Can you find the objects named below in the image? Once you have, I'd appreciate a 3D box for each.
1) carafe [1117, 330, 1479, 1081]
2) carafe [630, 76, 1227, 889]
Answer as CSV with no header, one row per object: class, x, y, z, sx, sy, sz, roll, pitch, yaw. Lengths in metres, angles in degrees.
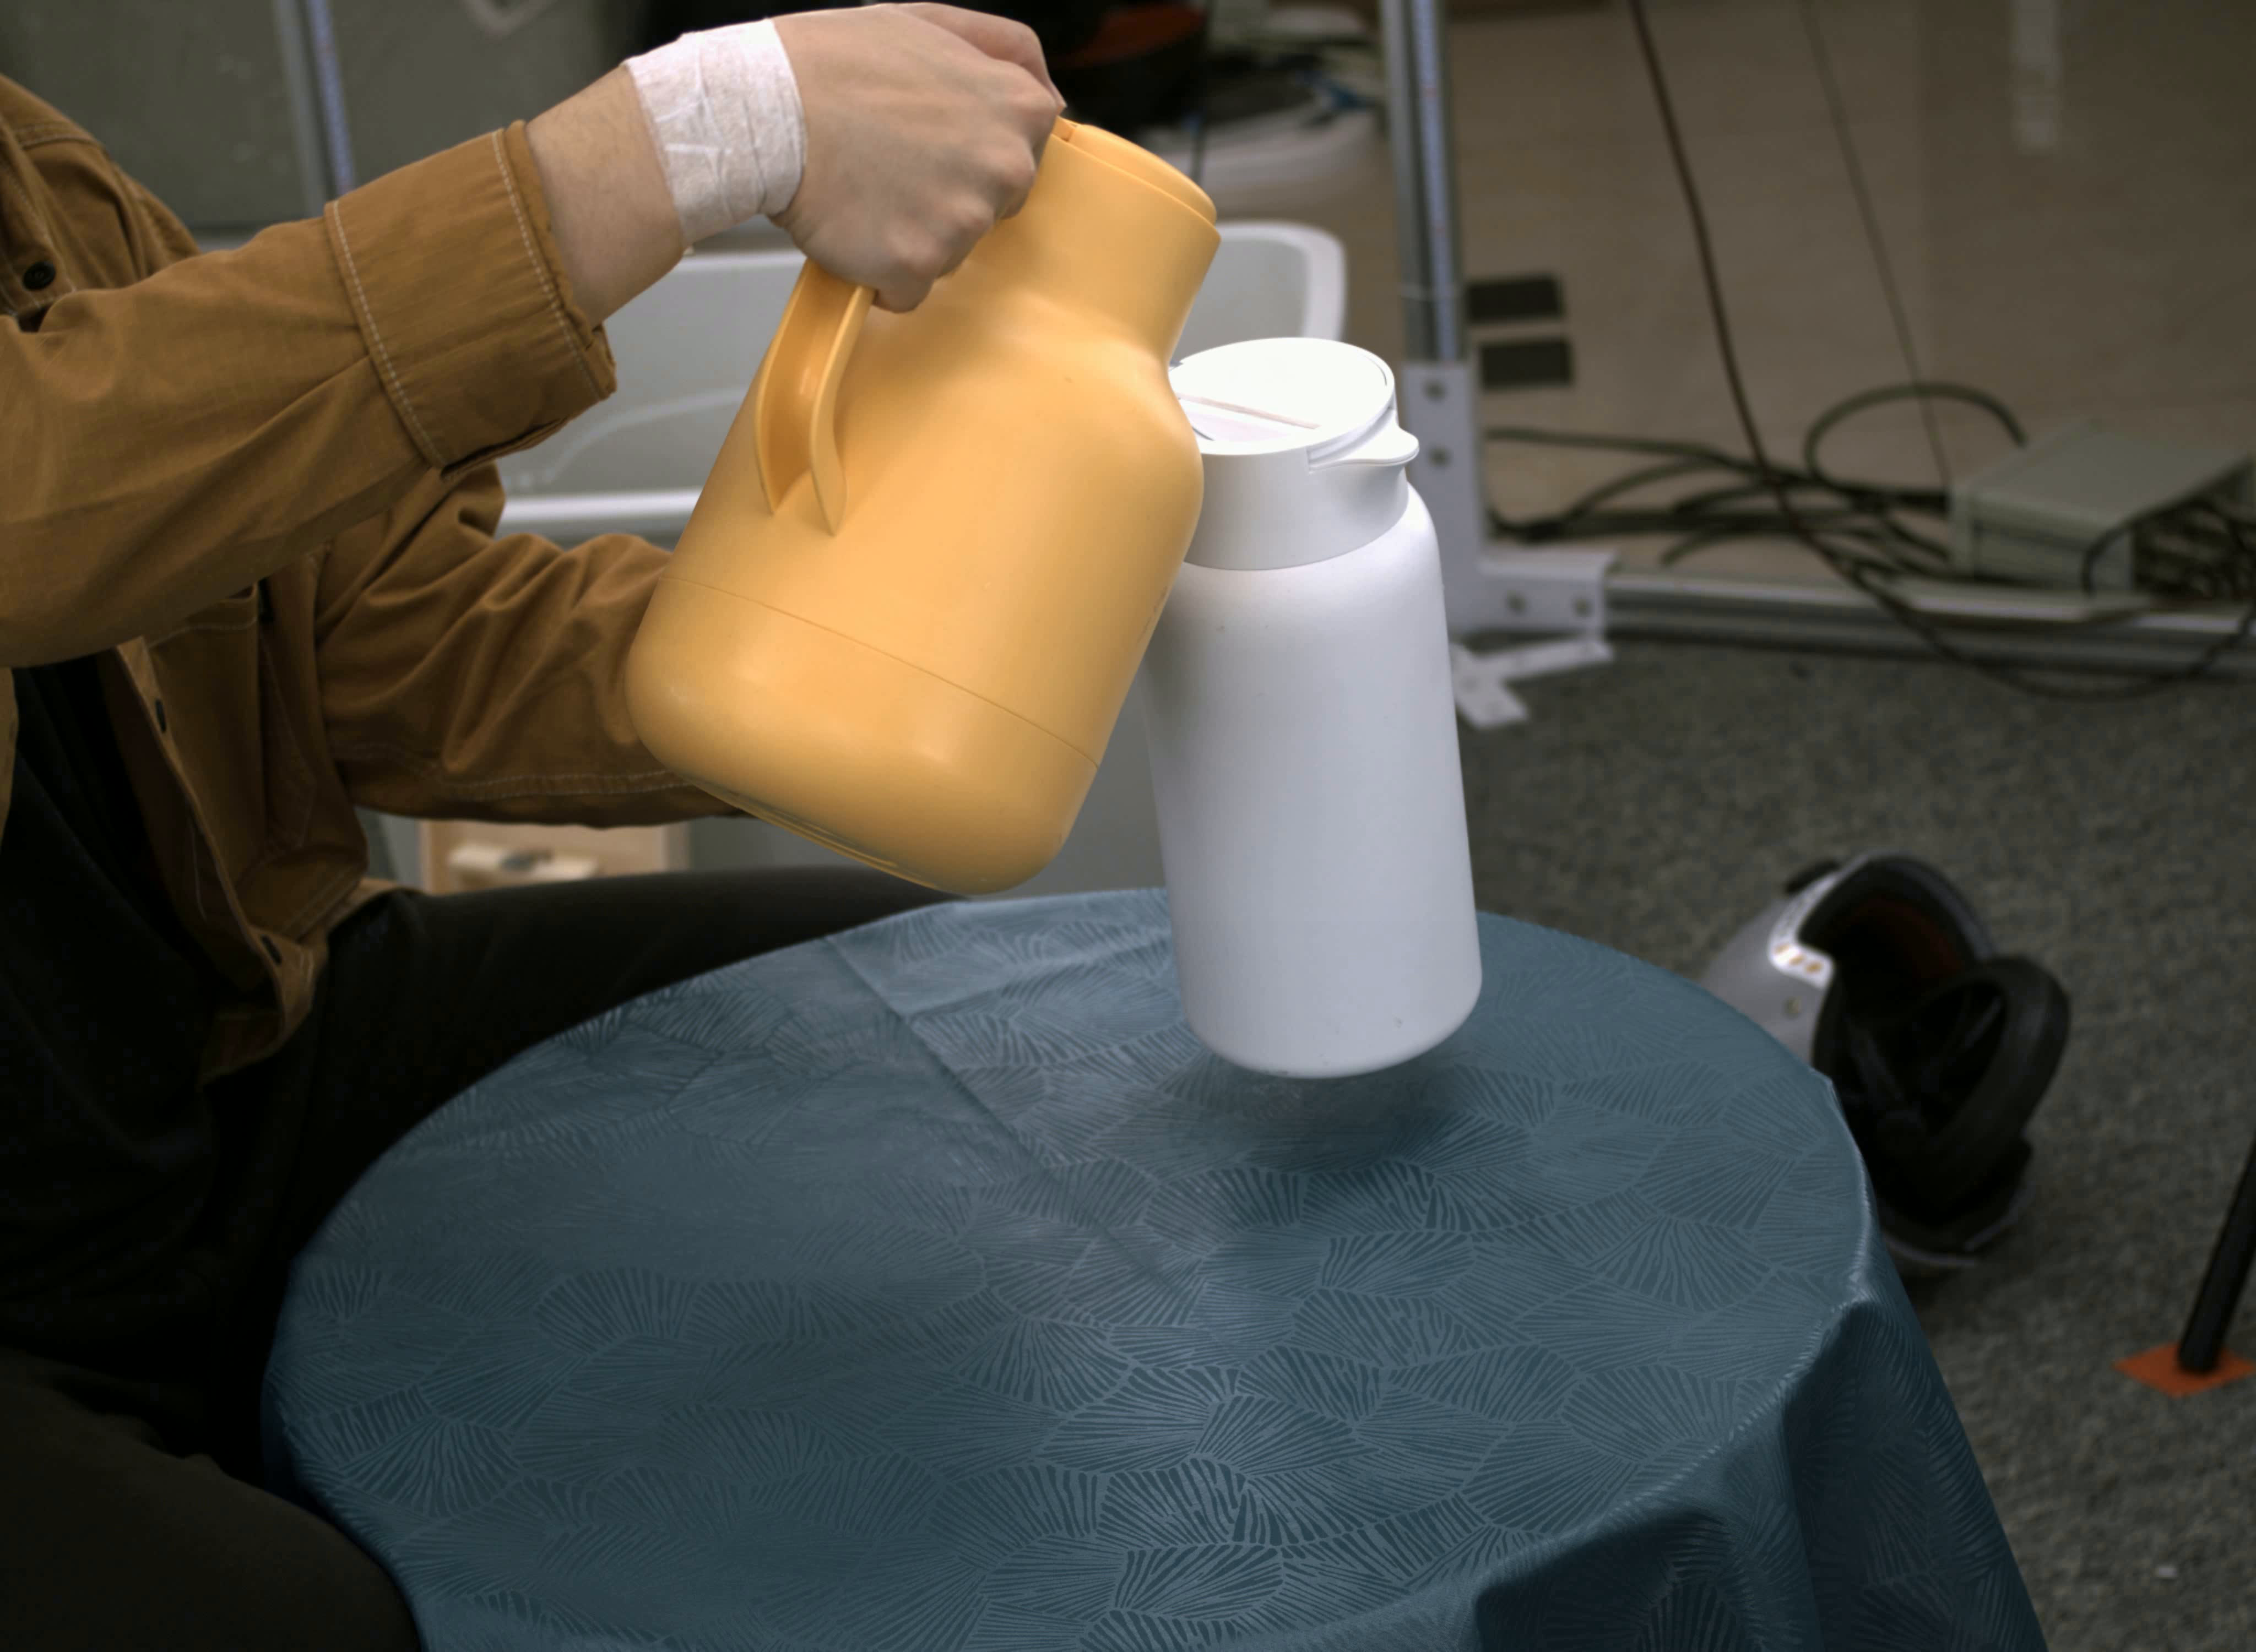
carafe,0.049,-0.047,2.134,0.171,0.274,0.122,16,40,35
carafe,-0.065,-0.125,1.922,0.162,0.259,0.204,18,-9,32
